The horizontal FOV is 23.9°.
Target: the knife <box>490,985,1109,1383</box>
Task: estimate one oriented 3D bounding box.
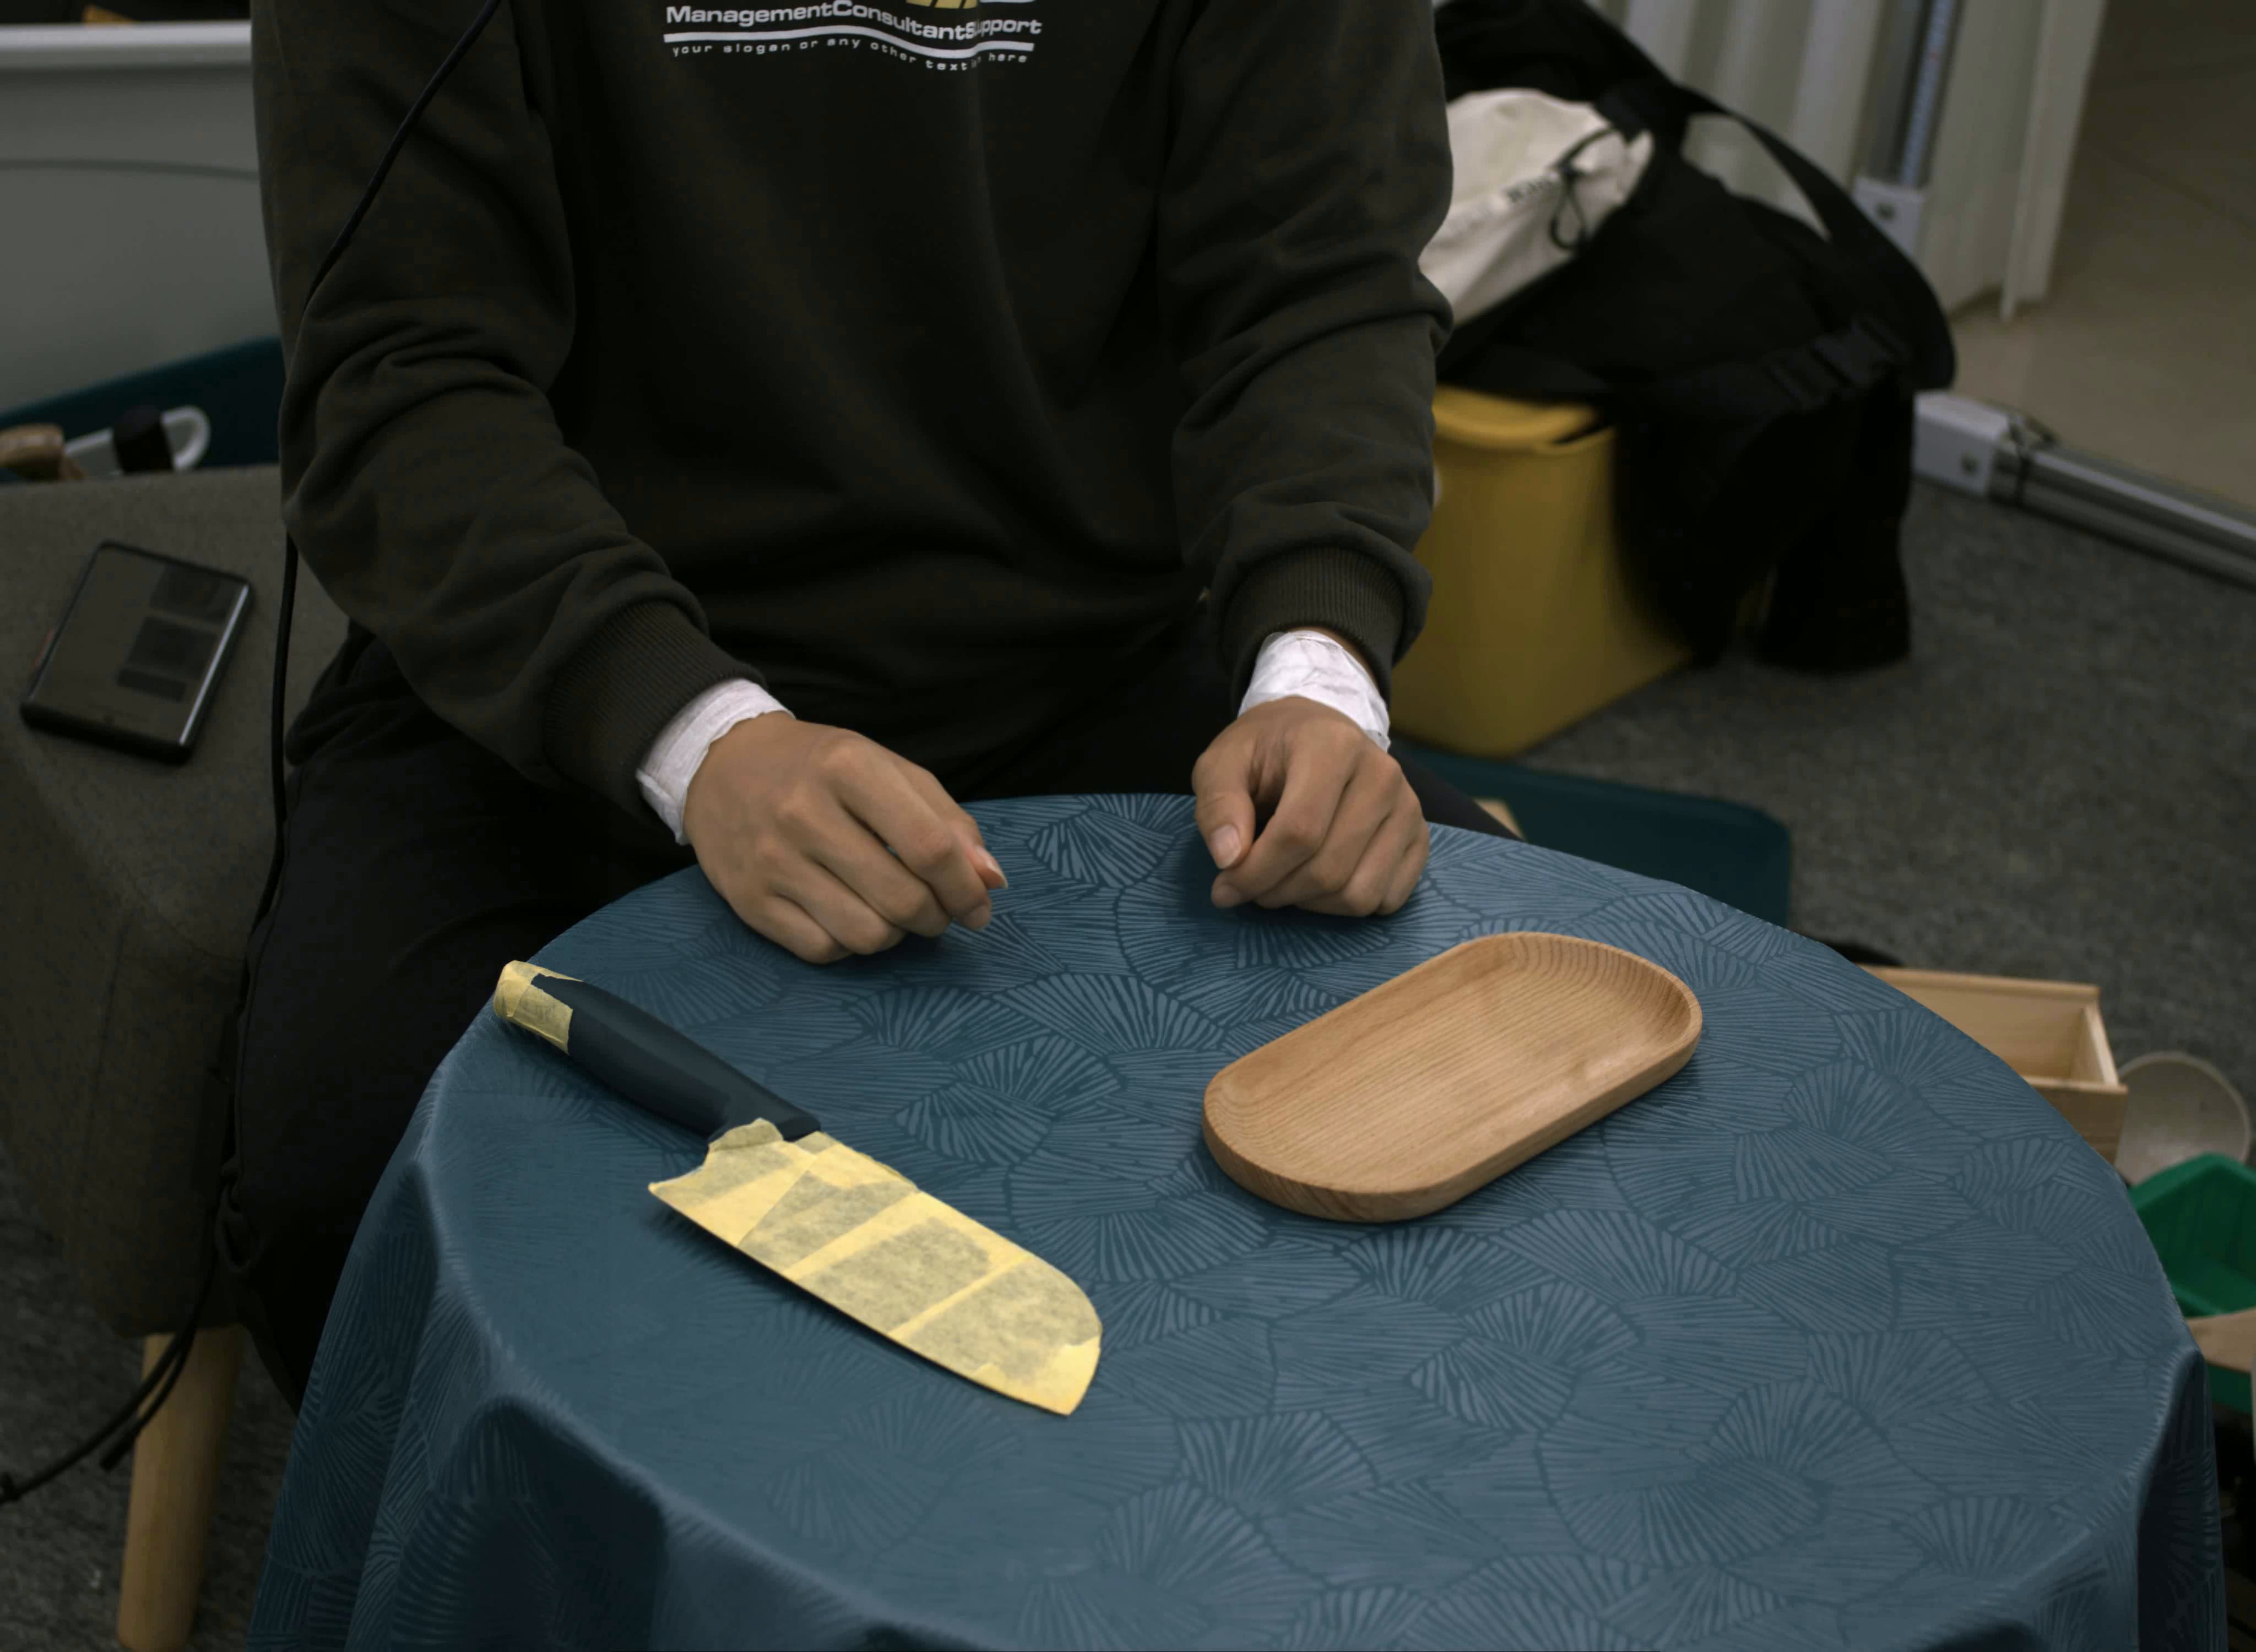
[{"bbox_3d":[-0.118,0.120,1.770,0.291,0.027,0.080,27,32,34],"label":"knife"}]

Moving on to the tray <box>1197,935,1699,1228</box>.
[{"bbox_3d":[0.115,0.089,1.882,0.102,0.020,0.230,23,33,33],"label":"tray"}]
